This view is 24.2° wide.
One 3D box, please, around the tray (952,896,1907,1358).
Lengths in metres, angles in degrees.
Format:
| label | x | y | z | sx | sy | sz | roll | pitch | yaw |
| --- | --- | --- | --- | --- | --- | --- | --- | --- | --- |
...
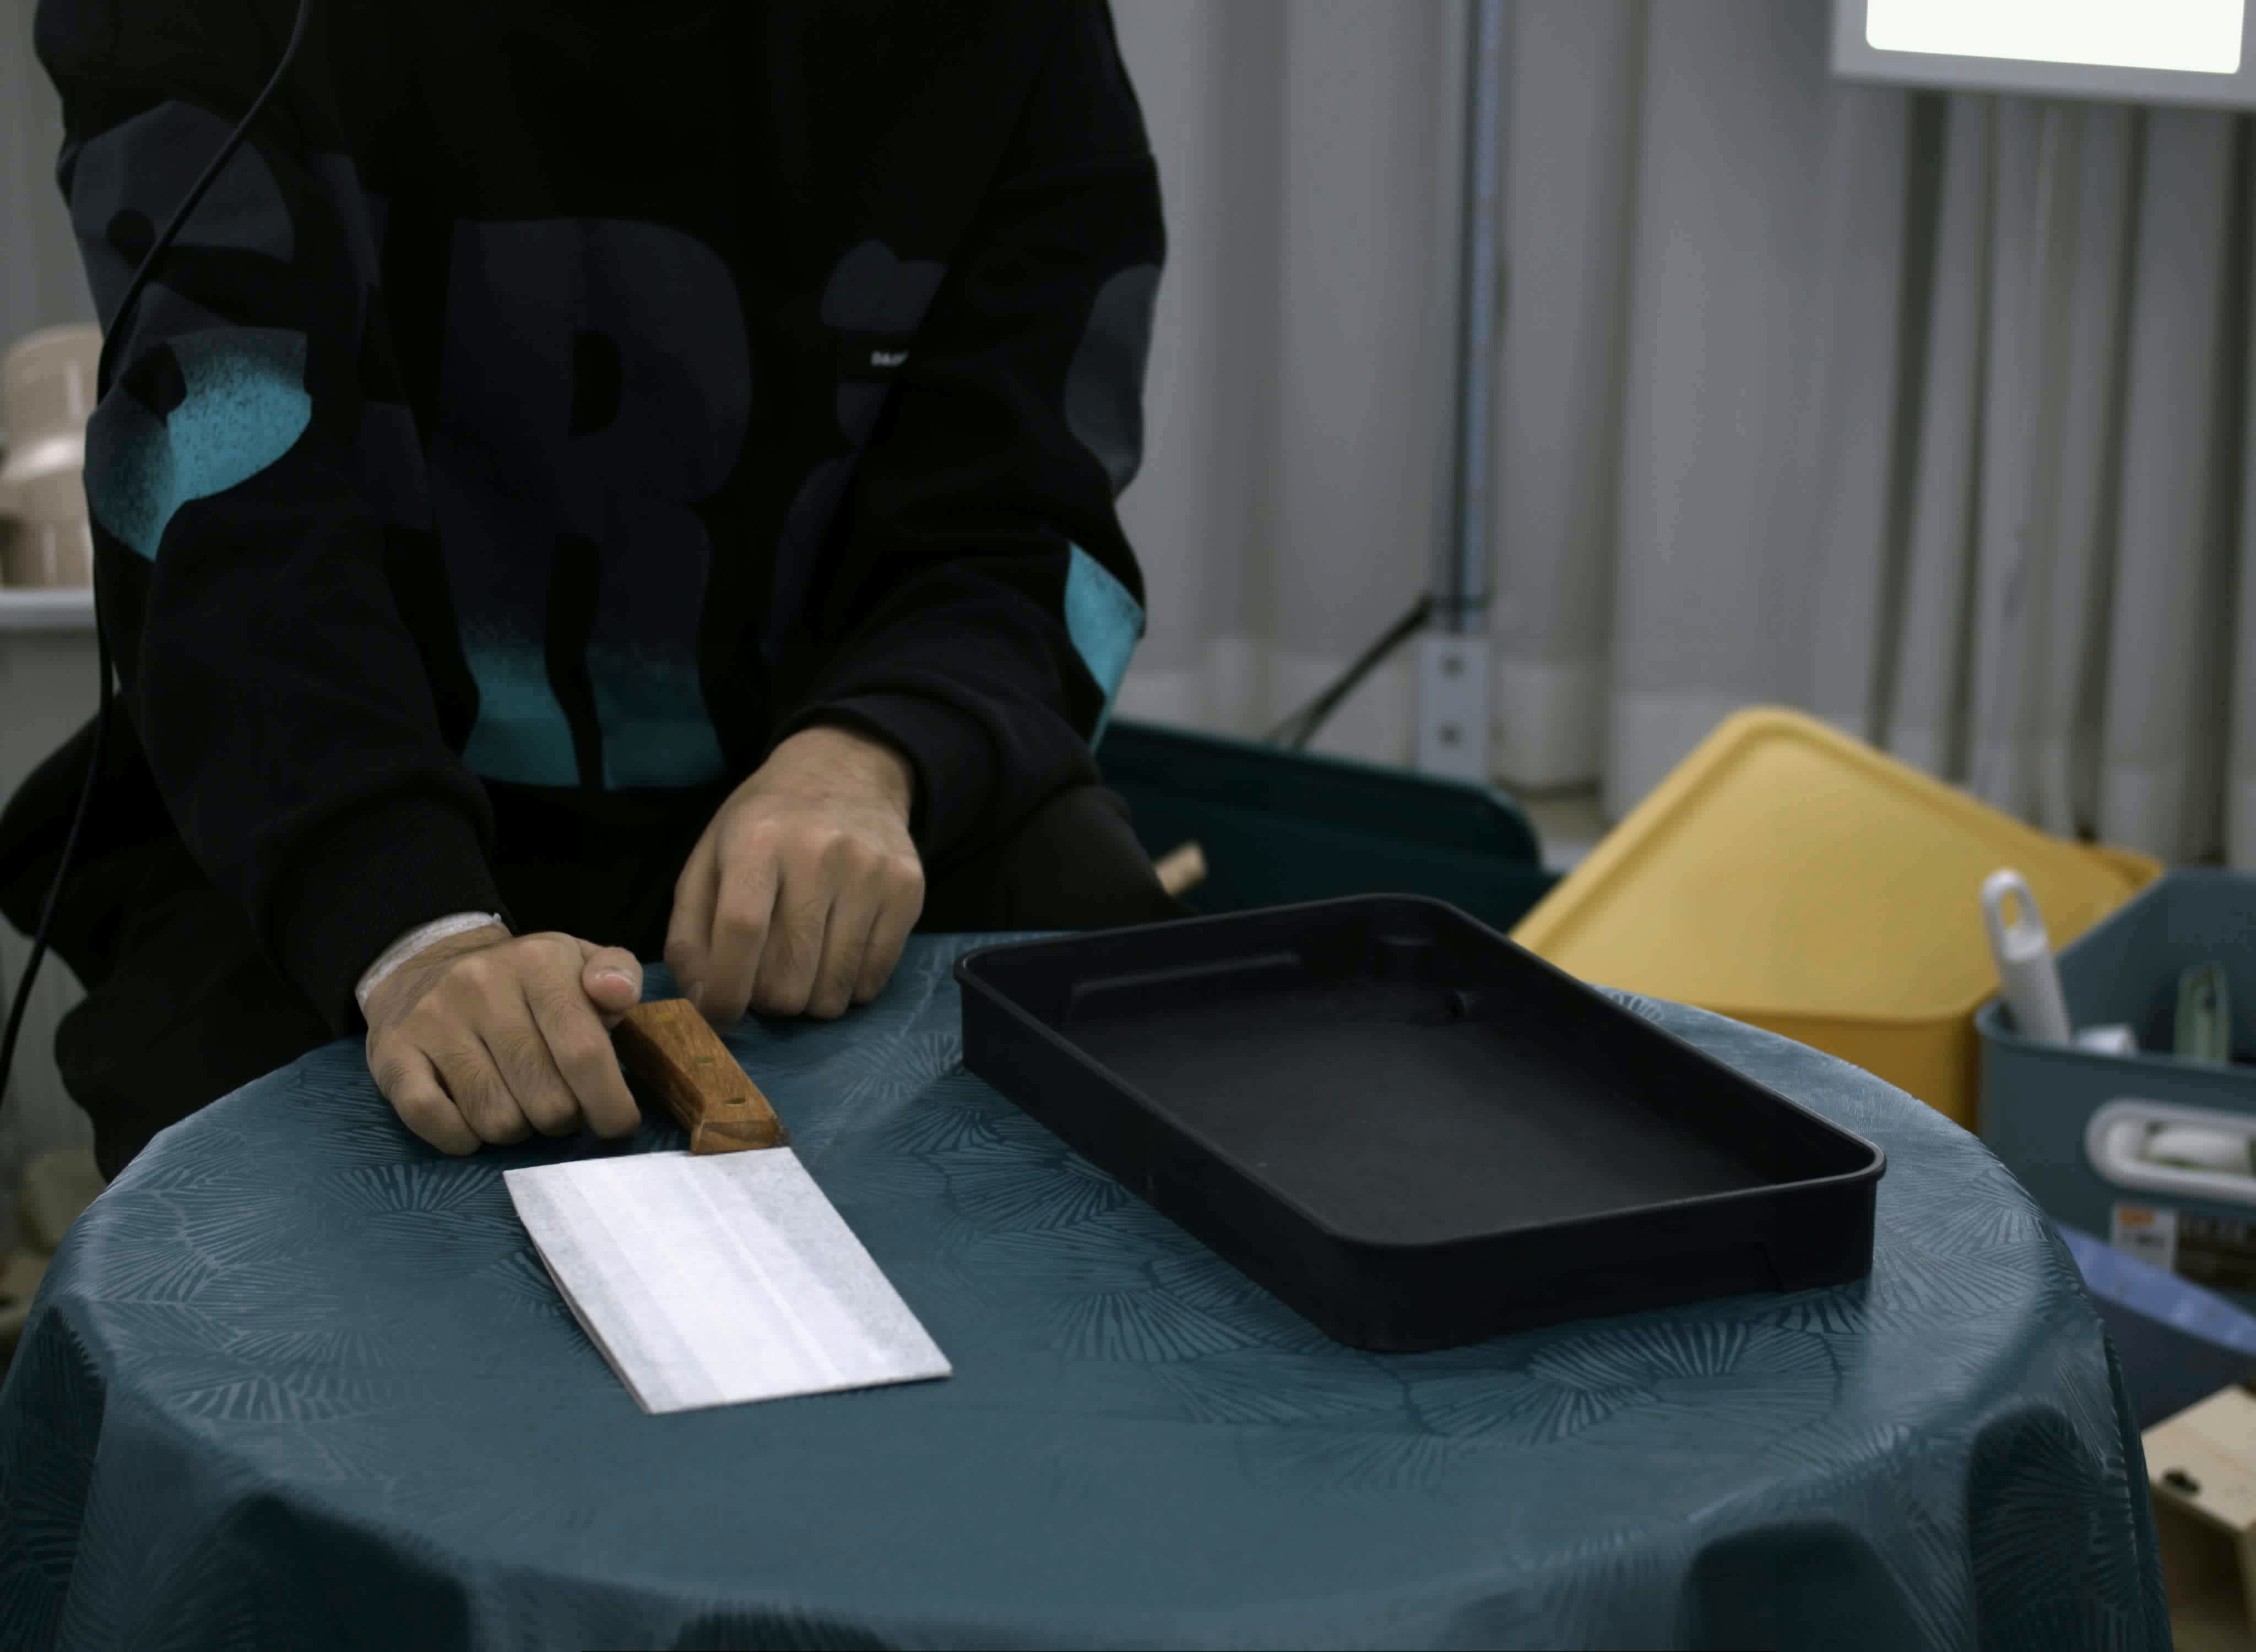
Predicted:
| label | x | y | z | sx | sy | sz | roll | pitch | yaw |
| --- | --- | --- | --- | --- | --- | --- | --- | --- | --- |
| tray | 0.086 | 0.088 | 1.644 | 0.185 | 0.037 | 0.314 | -8 | 17 | -25 |

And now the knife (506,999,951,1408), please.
| label | x | y | z | sx | sy | sz | roll | pitch | yaw |
| --- | --- | --- | --- | --- | --- | --- | --- | --- | --- |
| knife | -0.136 | 0.112 | 1.591 | 0.093 | 0.021 | 0.302 | -6 | 19 | -17 |
